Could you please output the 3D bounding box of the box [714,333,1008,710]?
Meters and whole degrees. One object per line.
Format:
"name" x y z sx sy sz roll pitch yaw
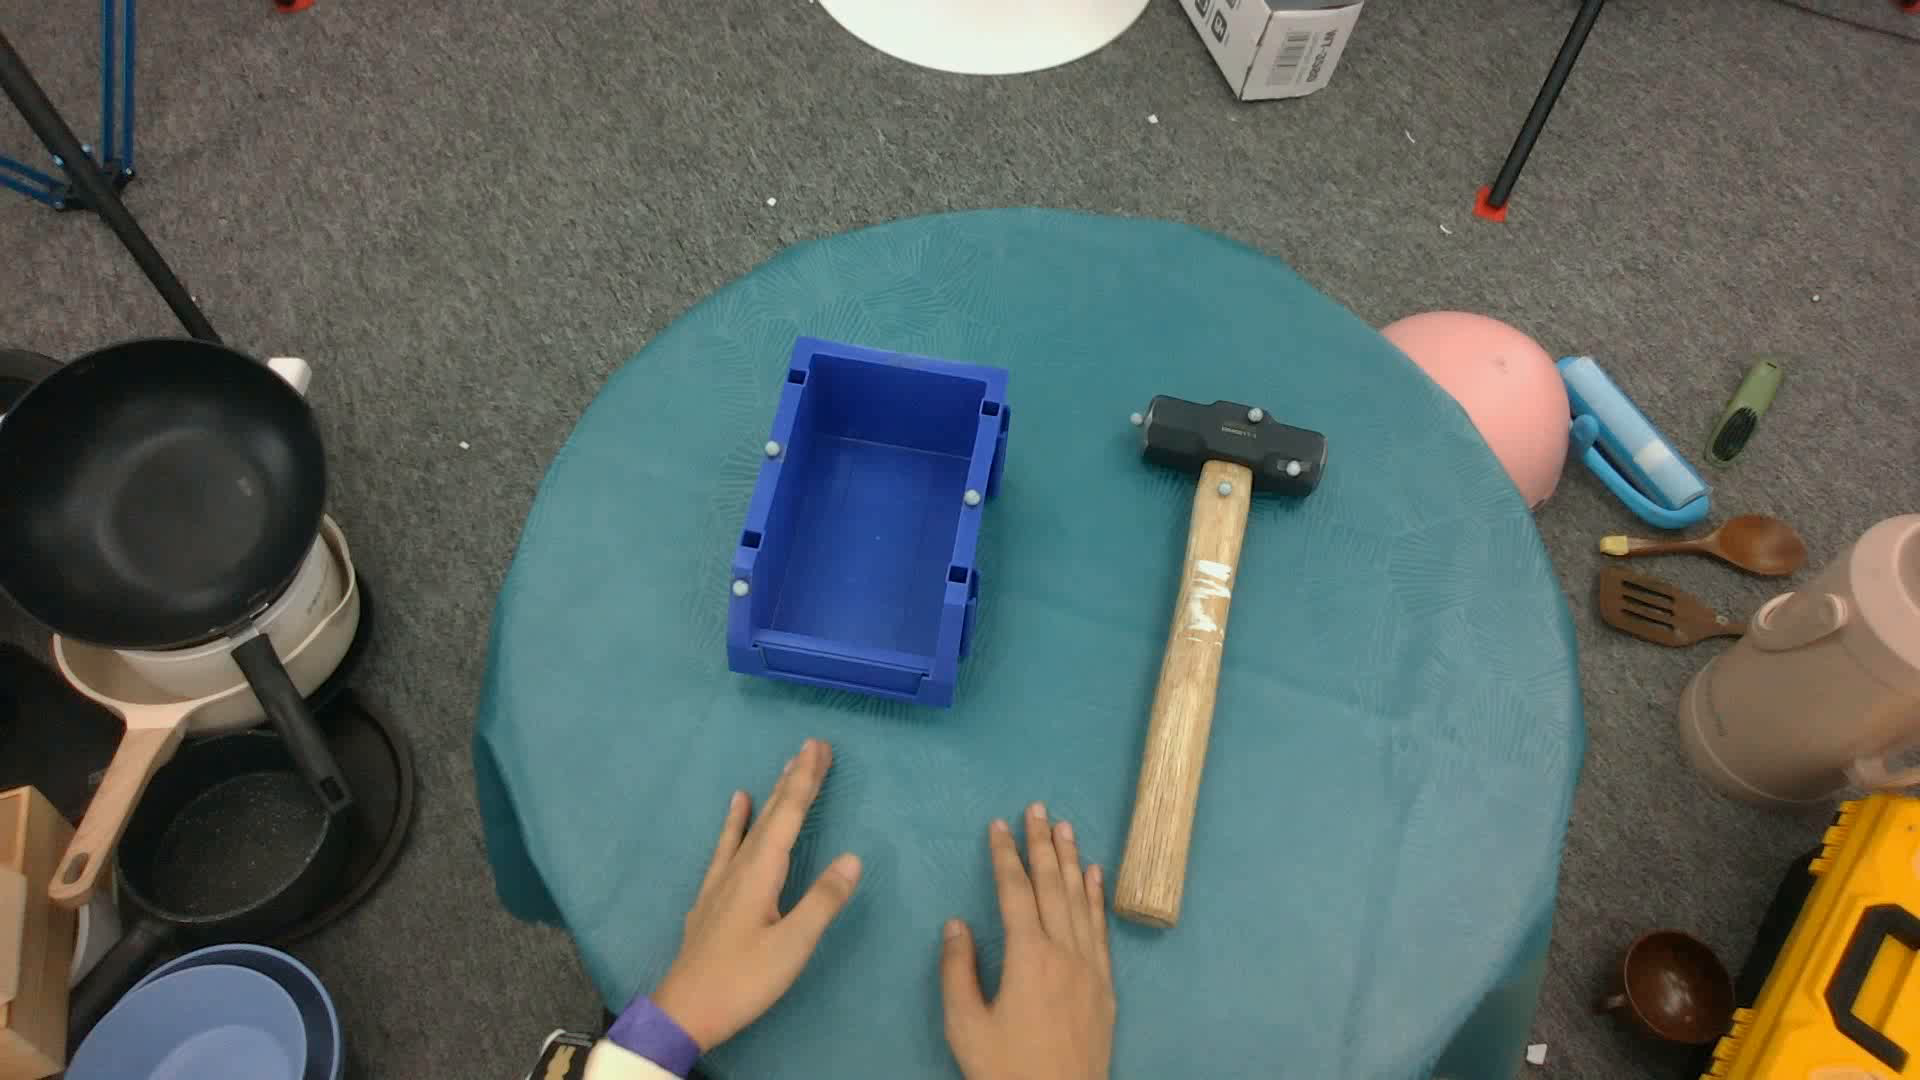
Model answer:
"box" -0.049 -0.008 0.741 0.124 0.081 0.180 11 58 2

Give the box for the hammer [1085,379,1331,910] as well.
"hammer" 0.122 0.049 0.747 0.107 0.038 0.306 16 62 5
